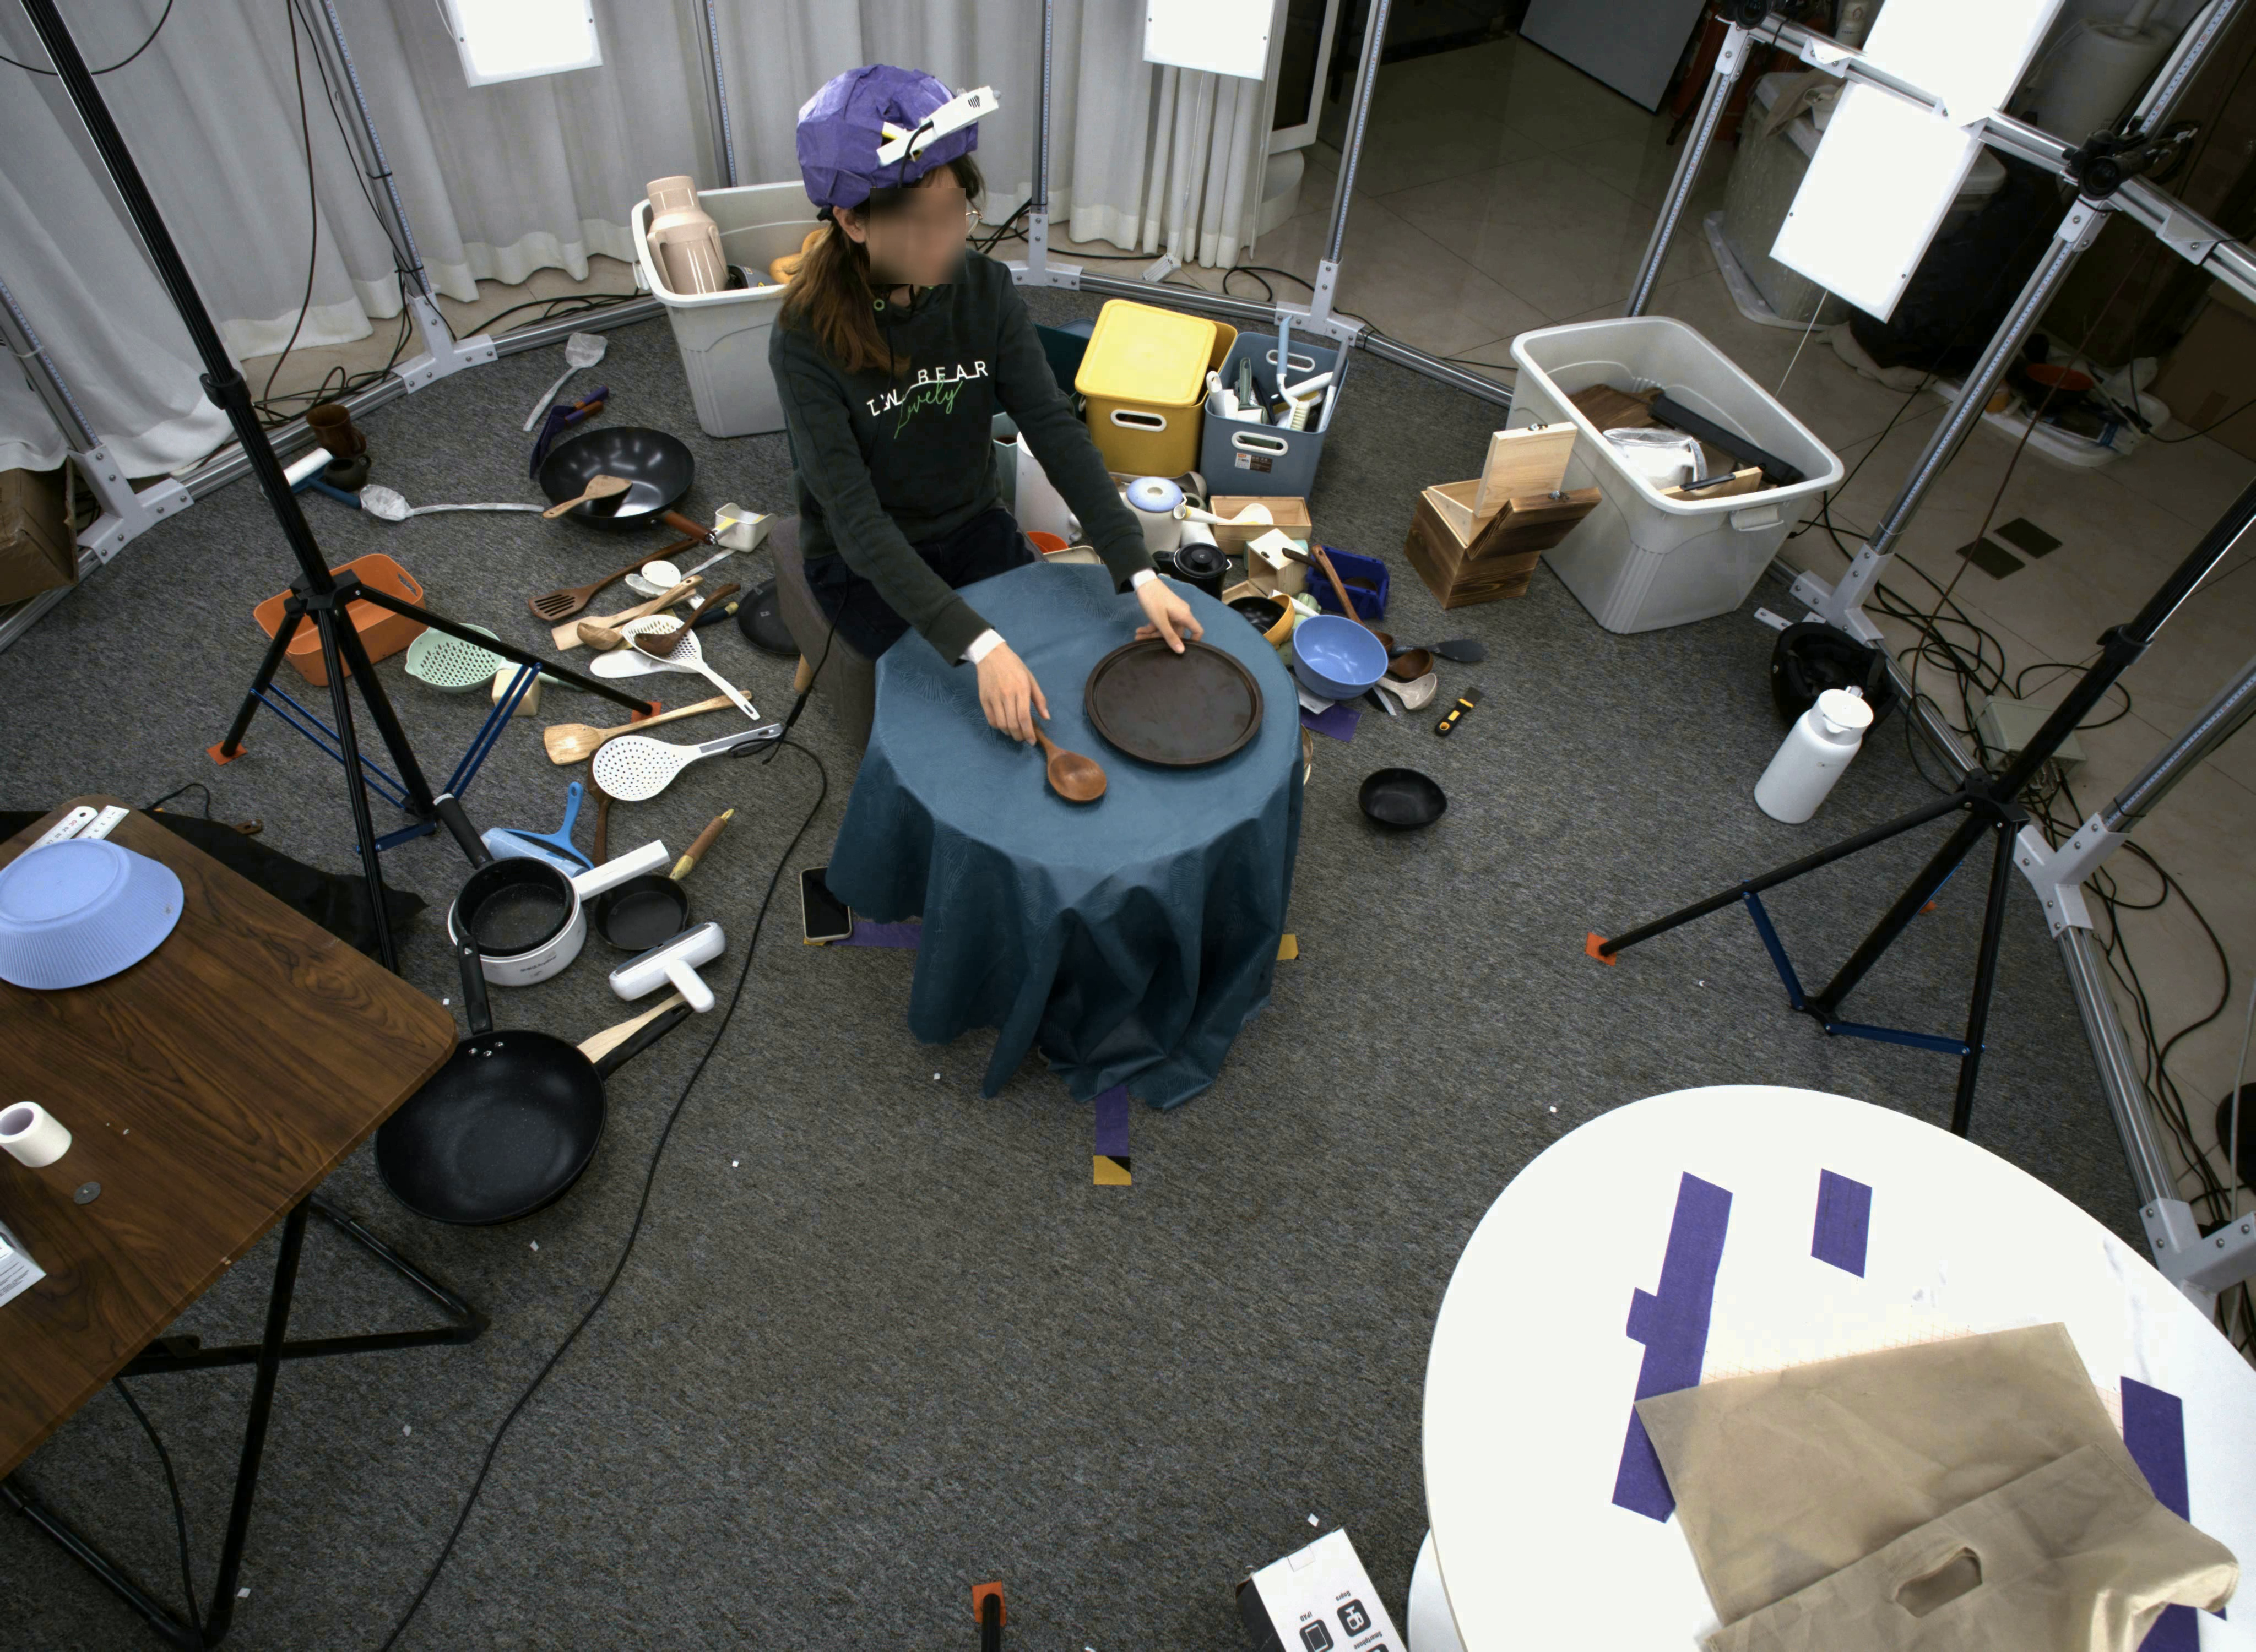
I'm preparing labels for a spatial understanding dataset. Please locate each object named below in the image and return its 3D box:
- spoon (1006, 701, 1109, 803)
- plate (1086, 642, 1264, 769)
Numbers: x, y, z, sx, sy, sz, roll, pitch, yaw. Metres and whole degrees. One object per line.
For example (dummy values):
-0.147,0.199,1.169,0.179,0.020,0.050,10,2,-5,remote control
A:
-0.103,-0.103,1.755,0.076,0.017,0.220,-26,55,-24,spoon
0.066,-0.174,1.826,0.254,0.028,0.261,3,48,-3,plate
